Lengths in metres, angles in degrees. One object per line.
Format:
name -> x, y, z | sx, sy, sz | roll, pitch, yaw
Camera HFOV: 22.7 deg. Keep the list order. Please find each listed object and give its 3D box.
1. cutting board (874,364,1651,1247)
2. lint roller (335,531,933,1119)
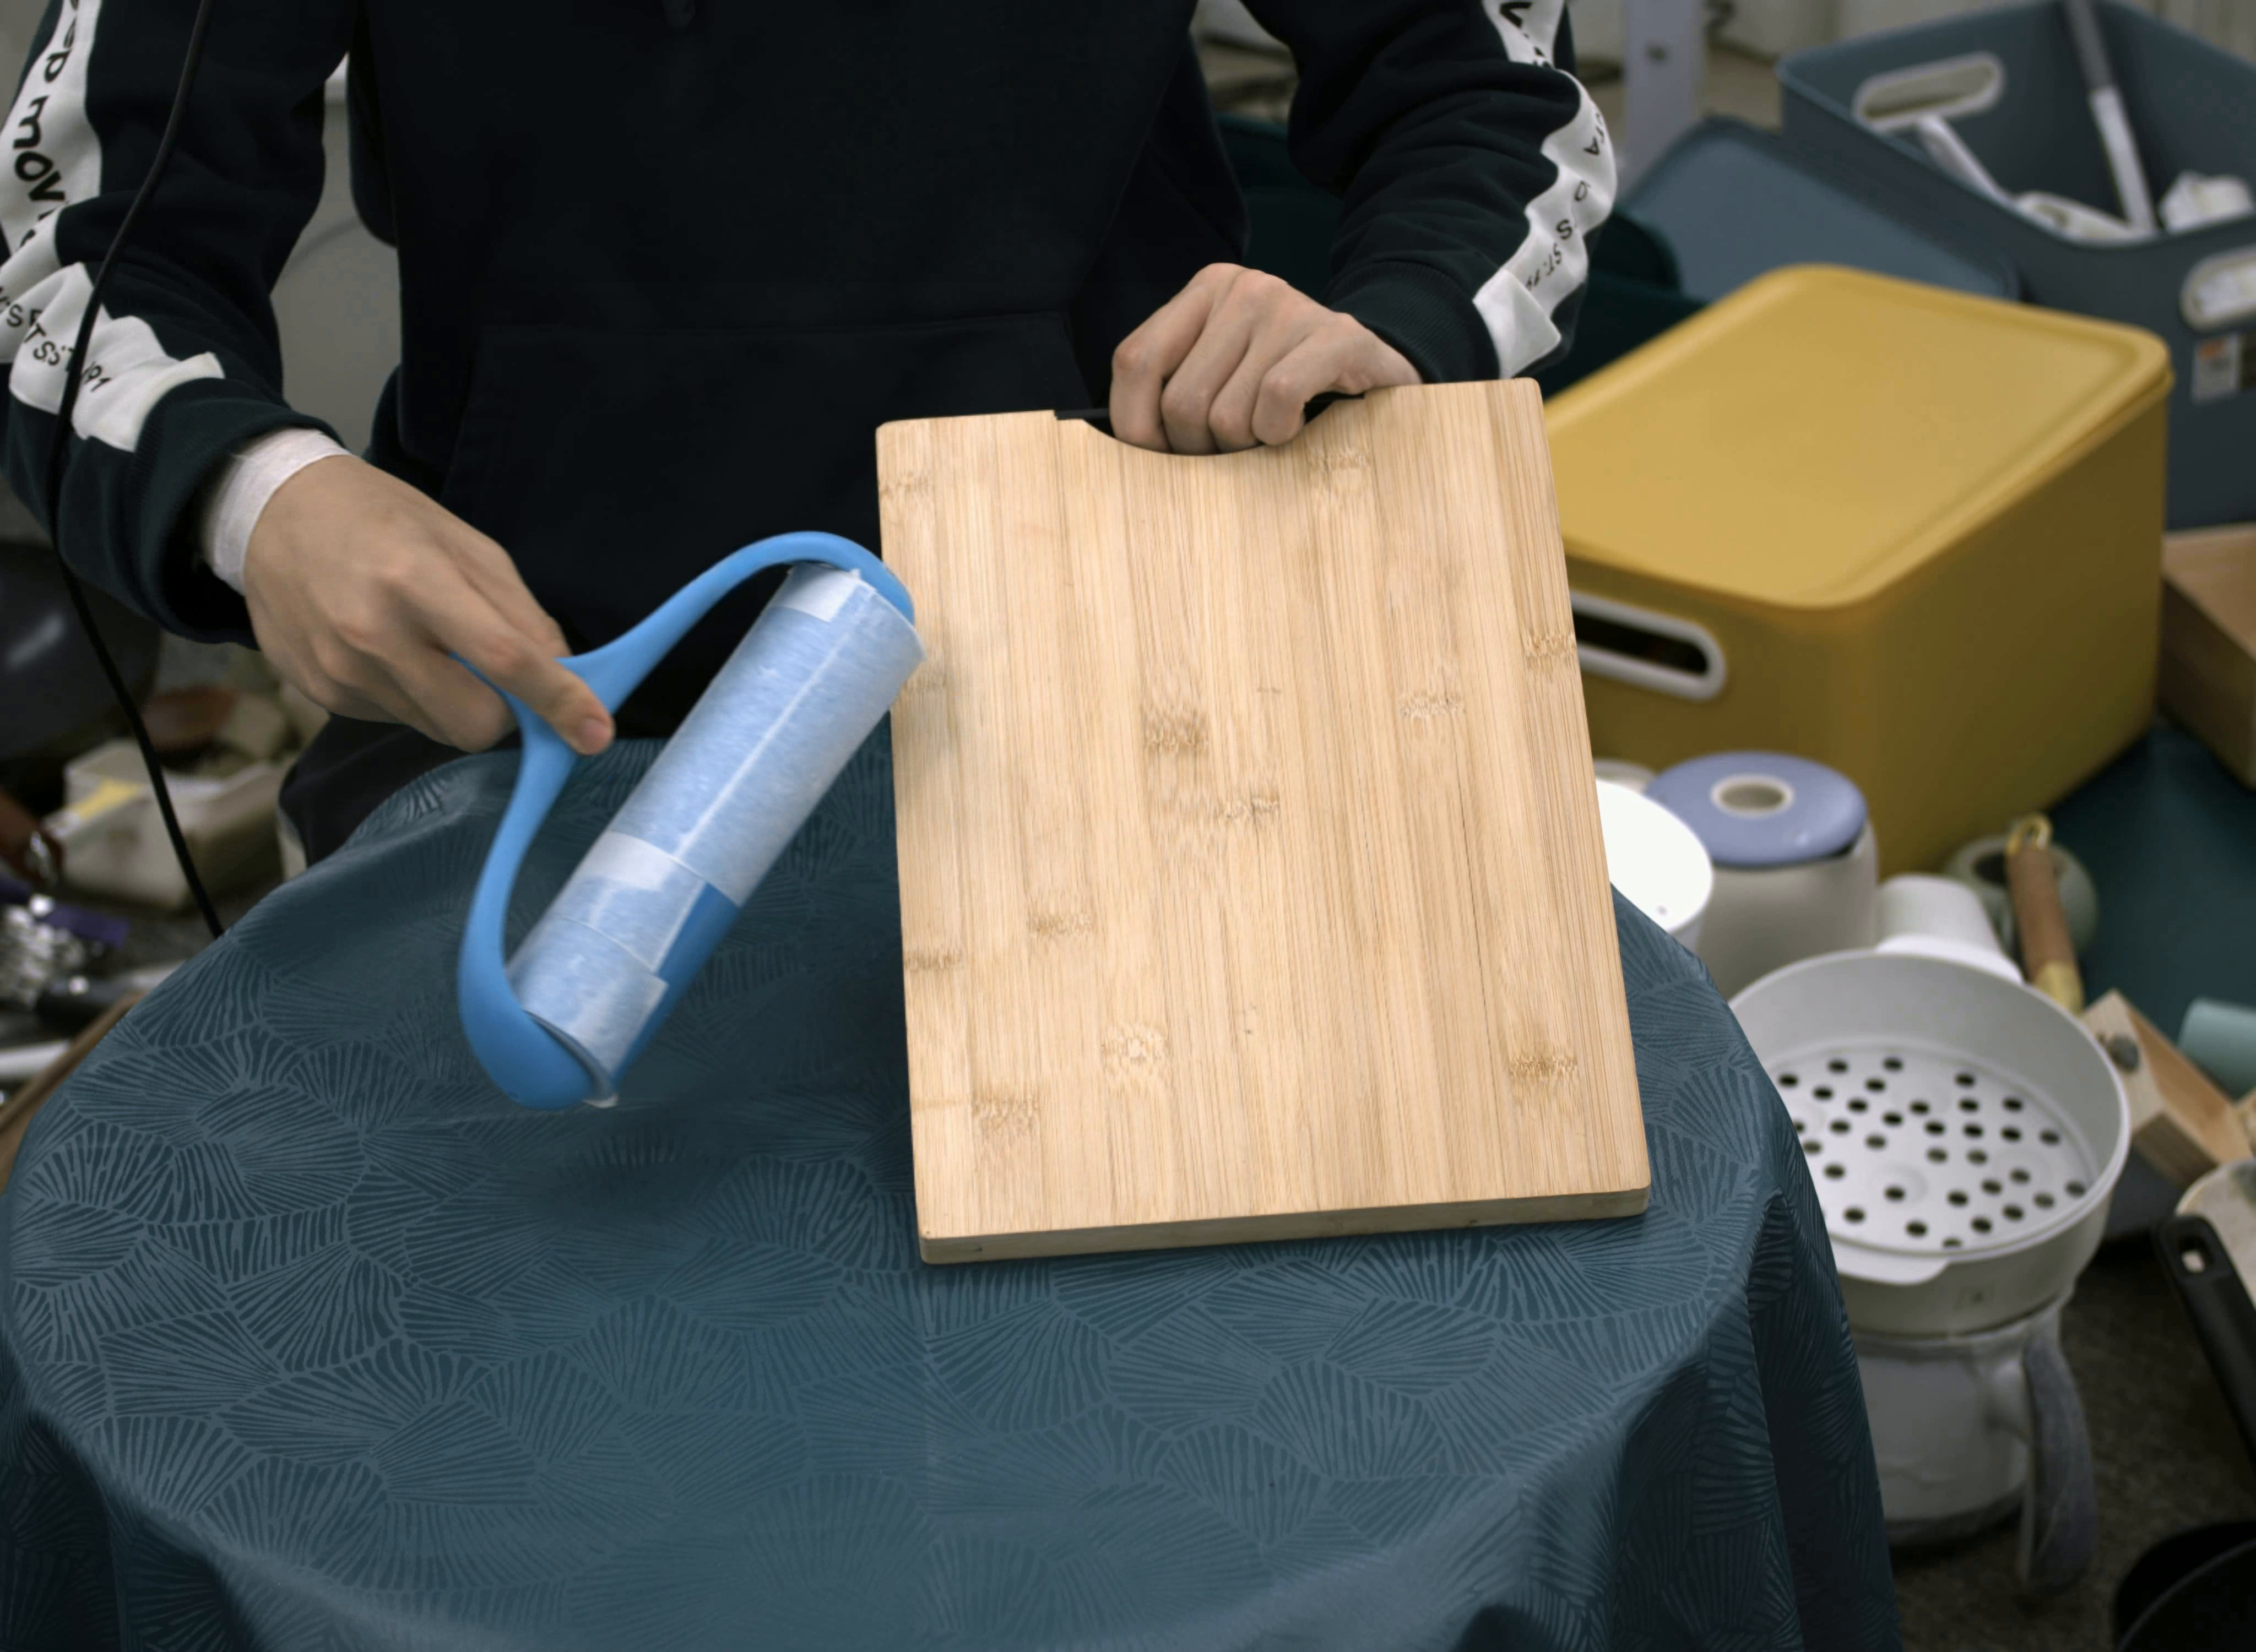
cutting board -> 0.040, -0.011, 1.927 | 0.250, 0.023, 0.355 | -4, 54, -3
lint roller -> -0.188, -0.028, 1.882 | 0.180, 0.067, 0.232 | 29, 66, 3
